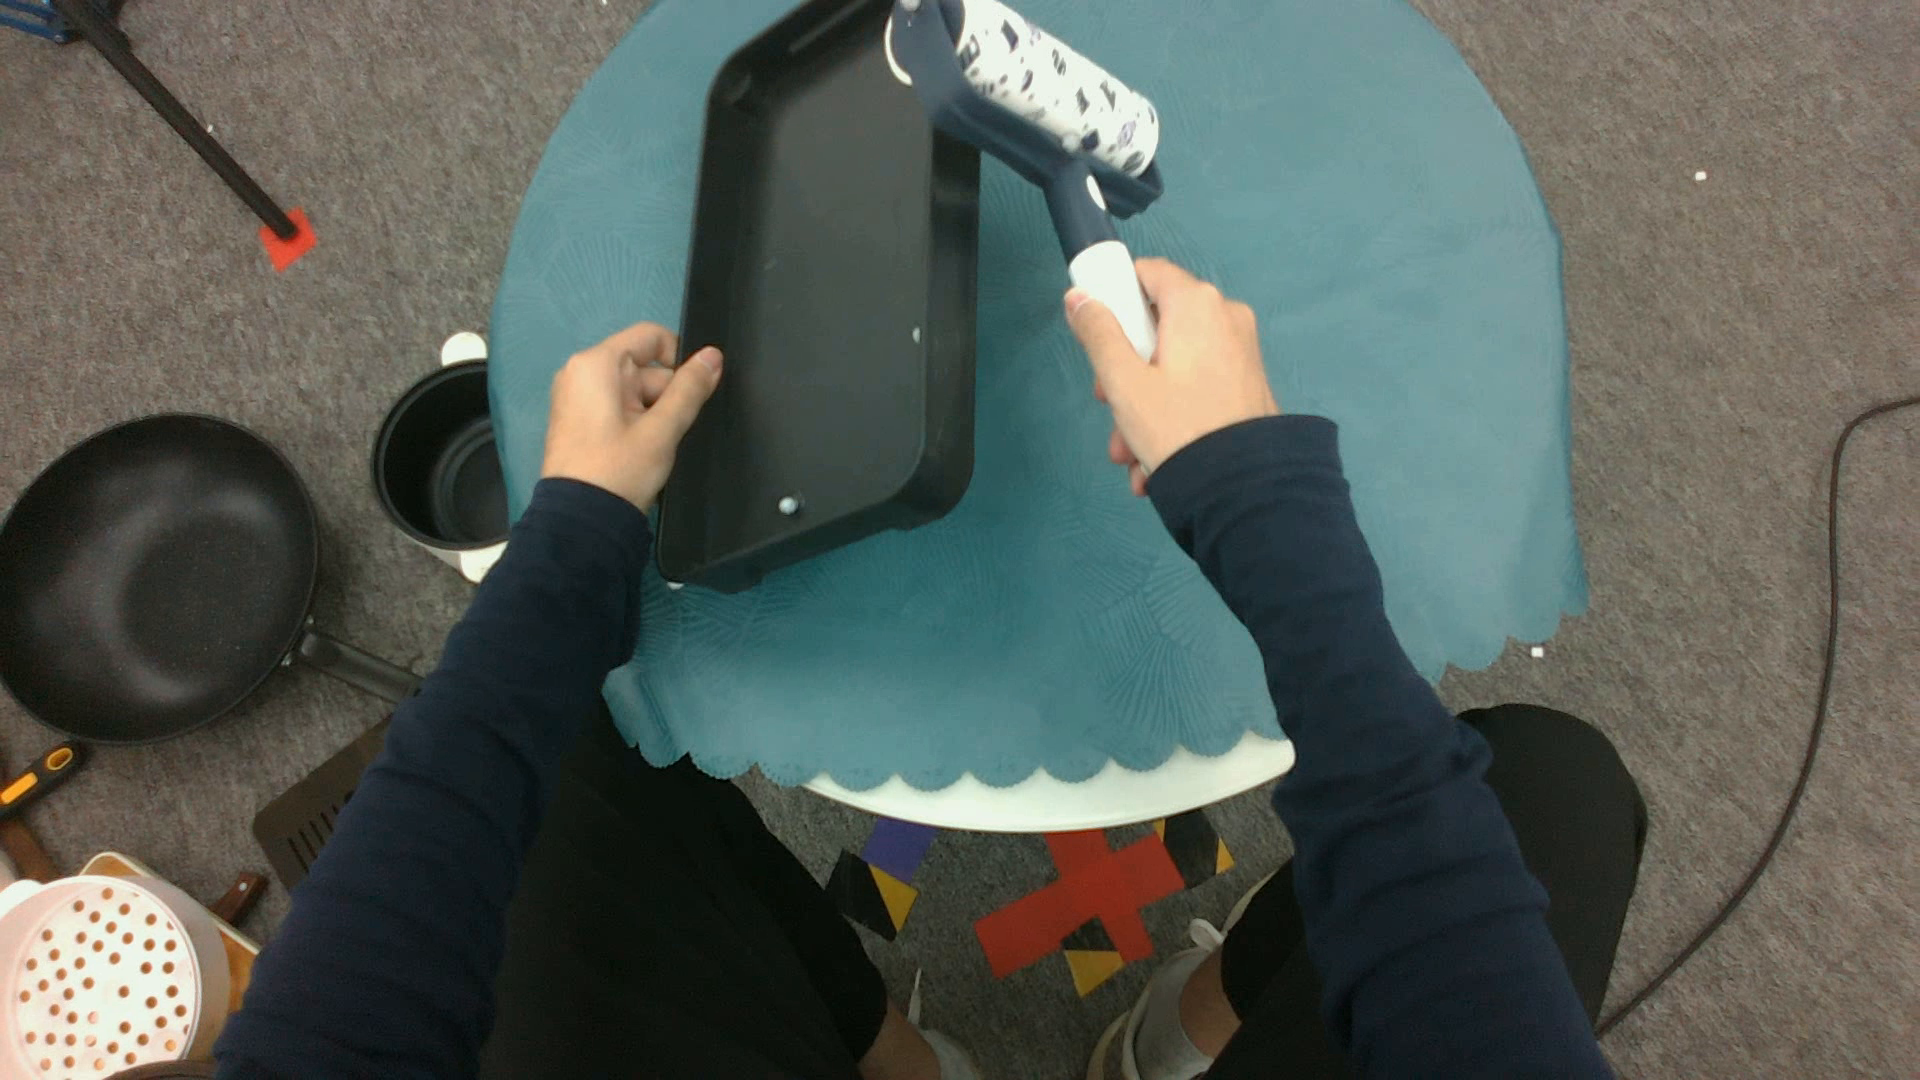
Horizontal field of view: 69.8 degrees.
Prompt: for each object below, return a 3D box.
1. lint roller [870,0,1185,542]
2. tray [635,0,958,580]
[{"bbox_3d":[0.056,-0.117,0.617,0.050,0.176,0.247,-30,70,30],"label":"lint roller"},{"bbox_3d":[-0.082,-0.147,0.675,0.183,0.037,0.319,-20,61,37],"label":"tray"}]
